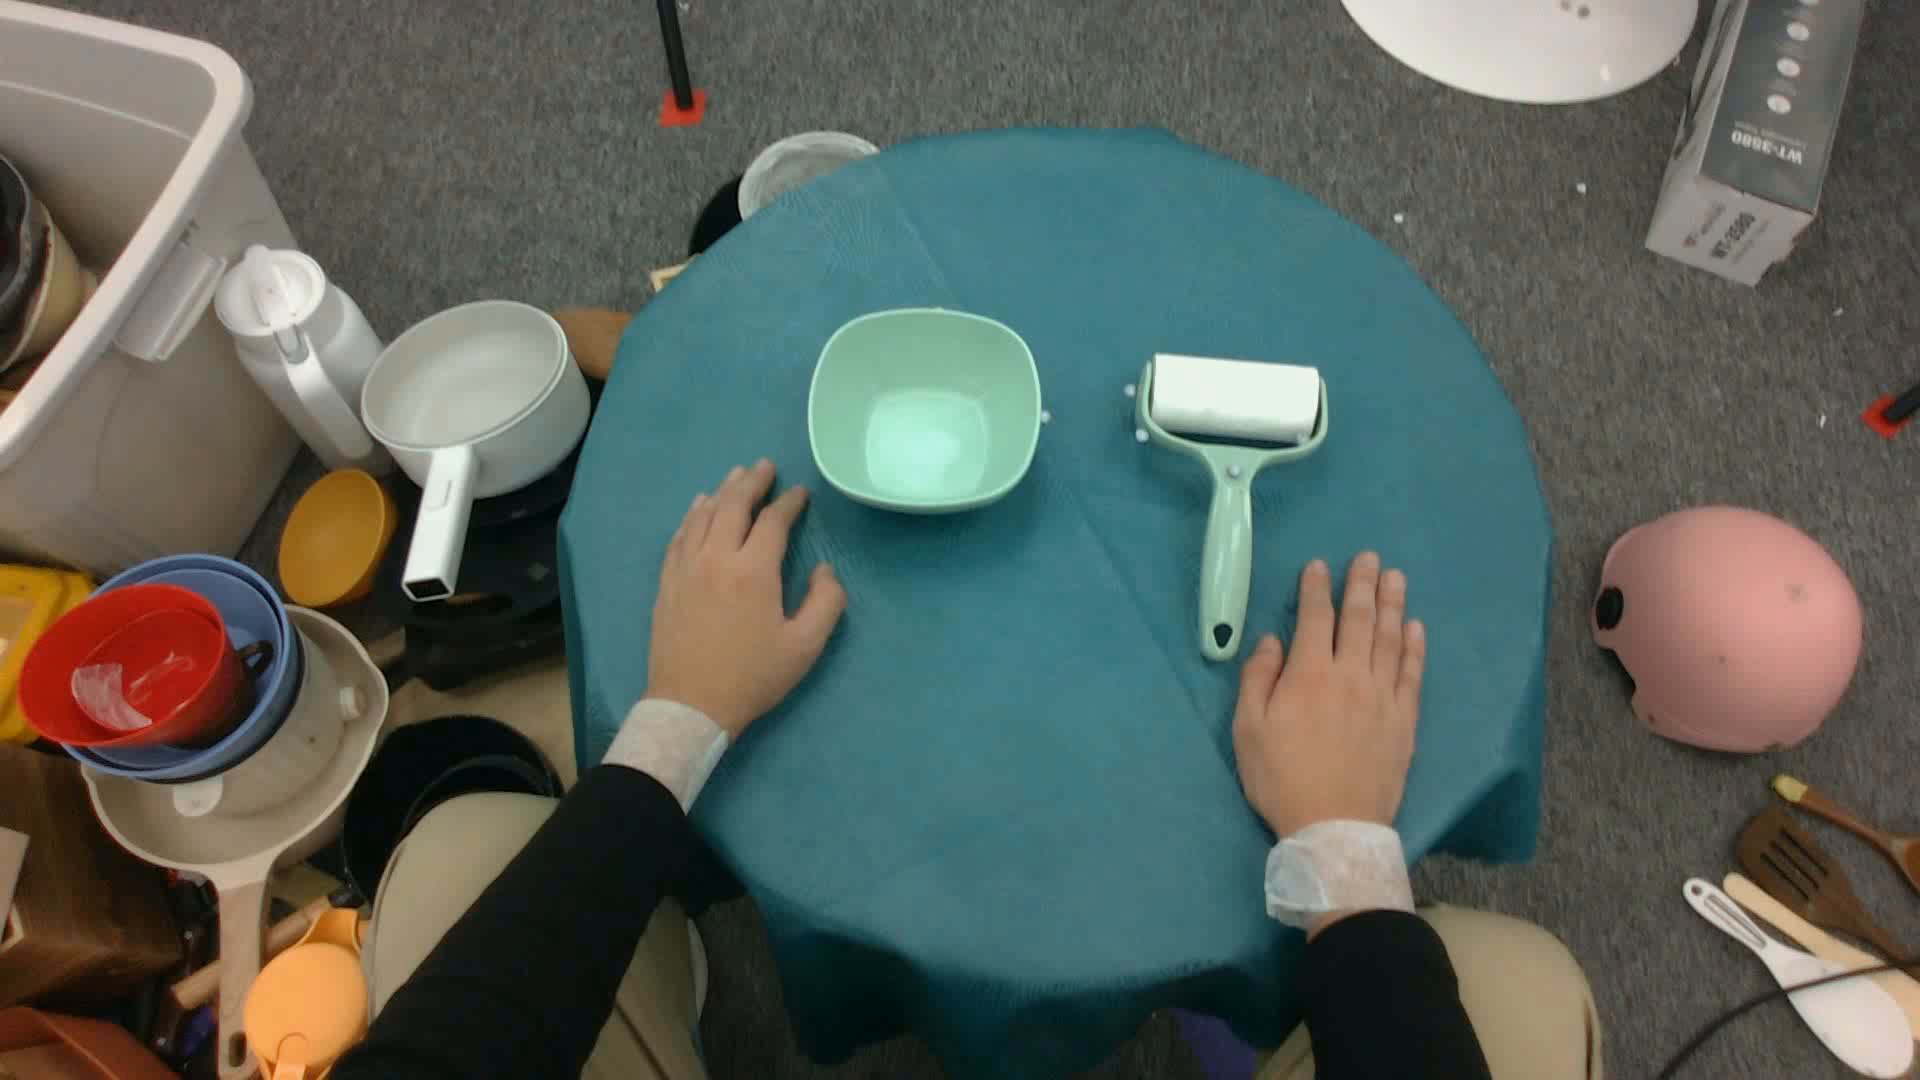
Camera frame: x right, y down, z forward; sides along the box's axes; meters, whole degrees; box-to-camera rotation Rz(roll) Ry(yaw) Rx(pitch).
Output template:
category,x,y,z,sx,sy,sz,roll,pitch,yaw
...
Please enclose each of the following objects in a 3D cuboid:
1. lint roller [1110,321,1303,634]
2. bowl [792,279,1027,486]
category,x,y,z,sx,sy,sz,roll,pitch,yaw
lint roller,0.146,-0.042,0.826,0.116,0.048,0.198,5,66,-1
bowl,-0.030,-0.086,0.836,0.151,0.058,0.152,1,63,-2
